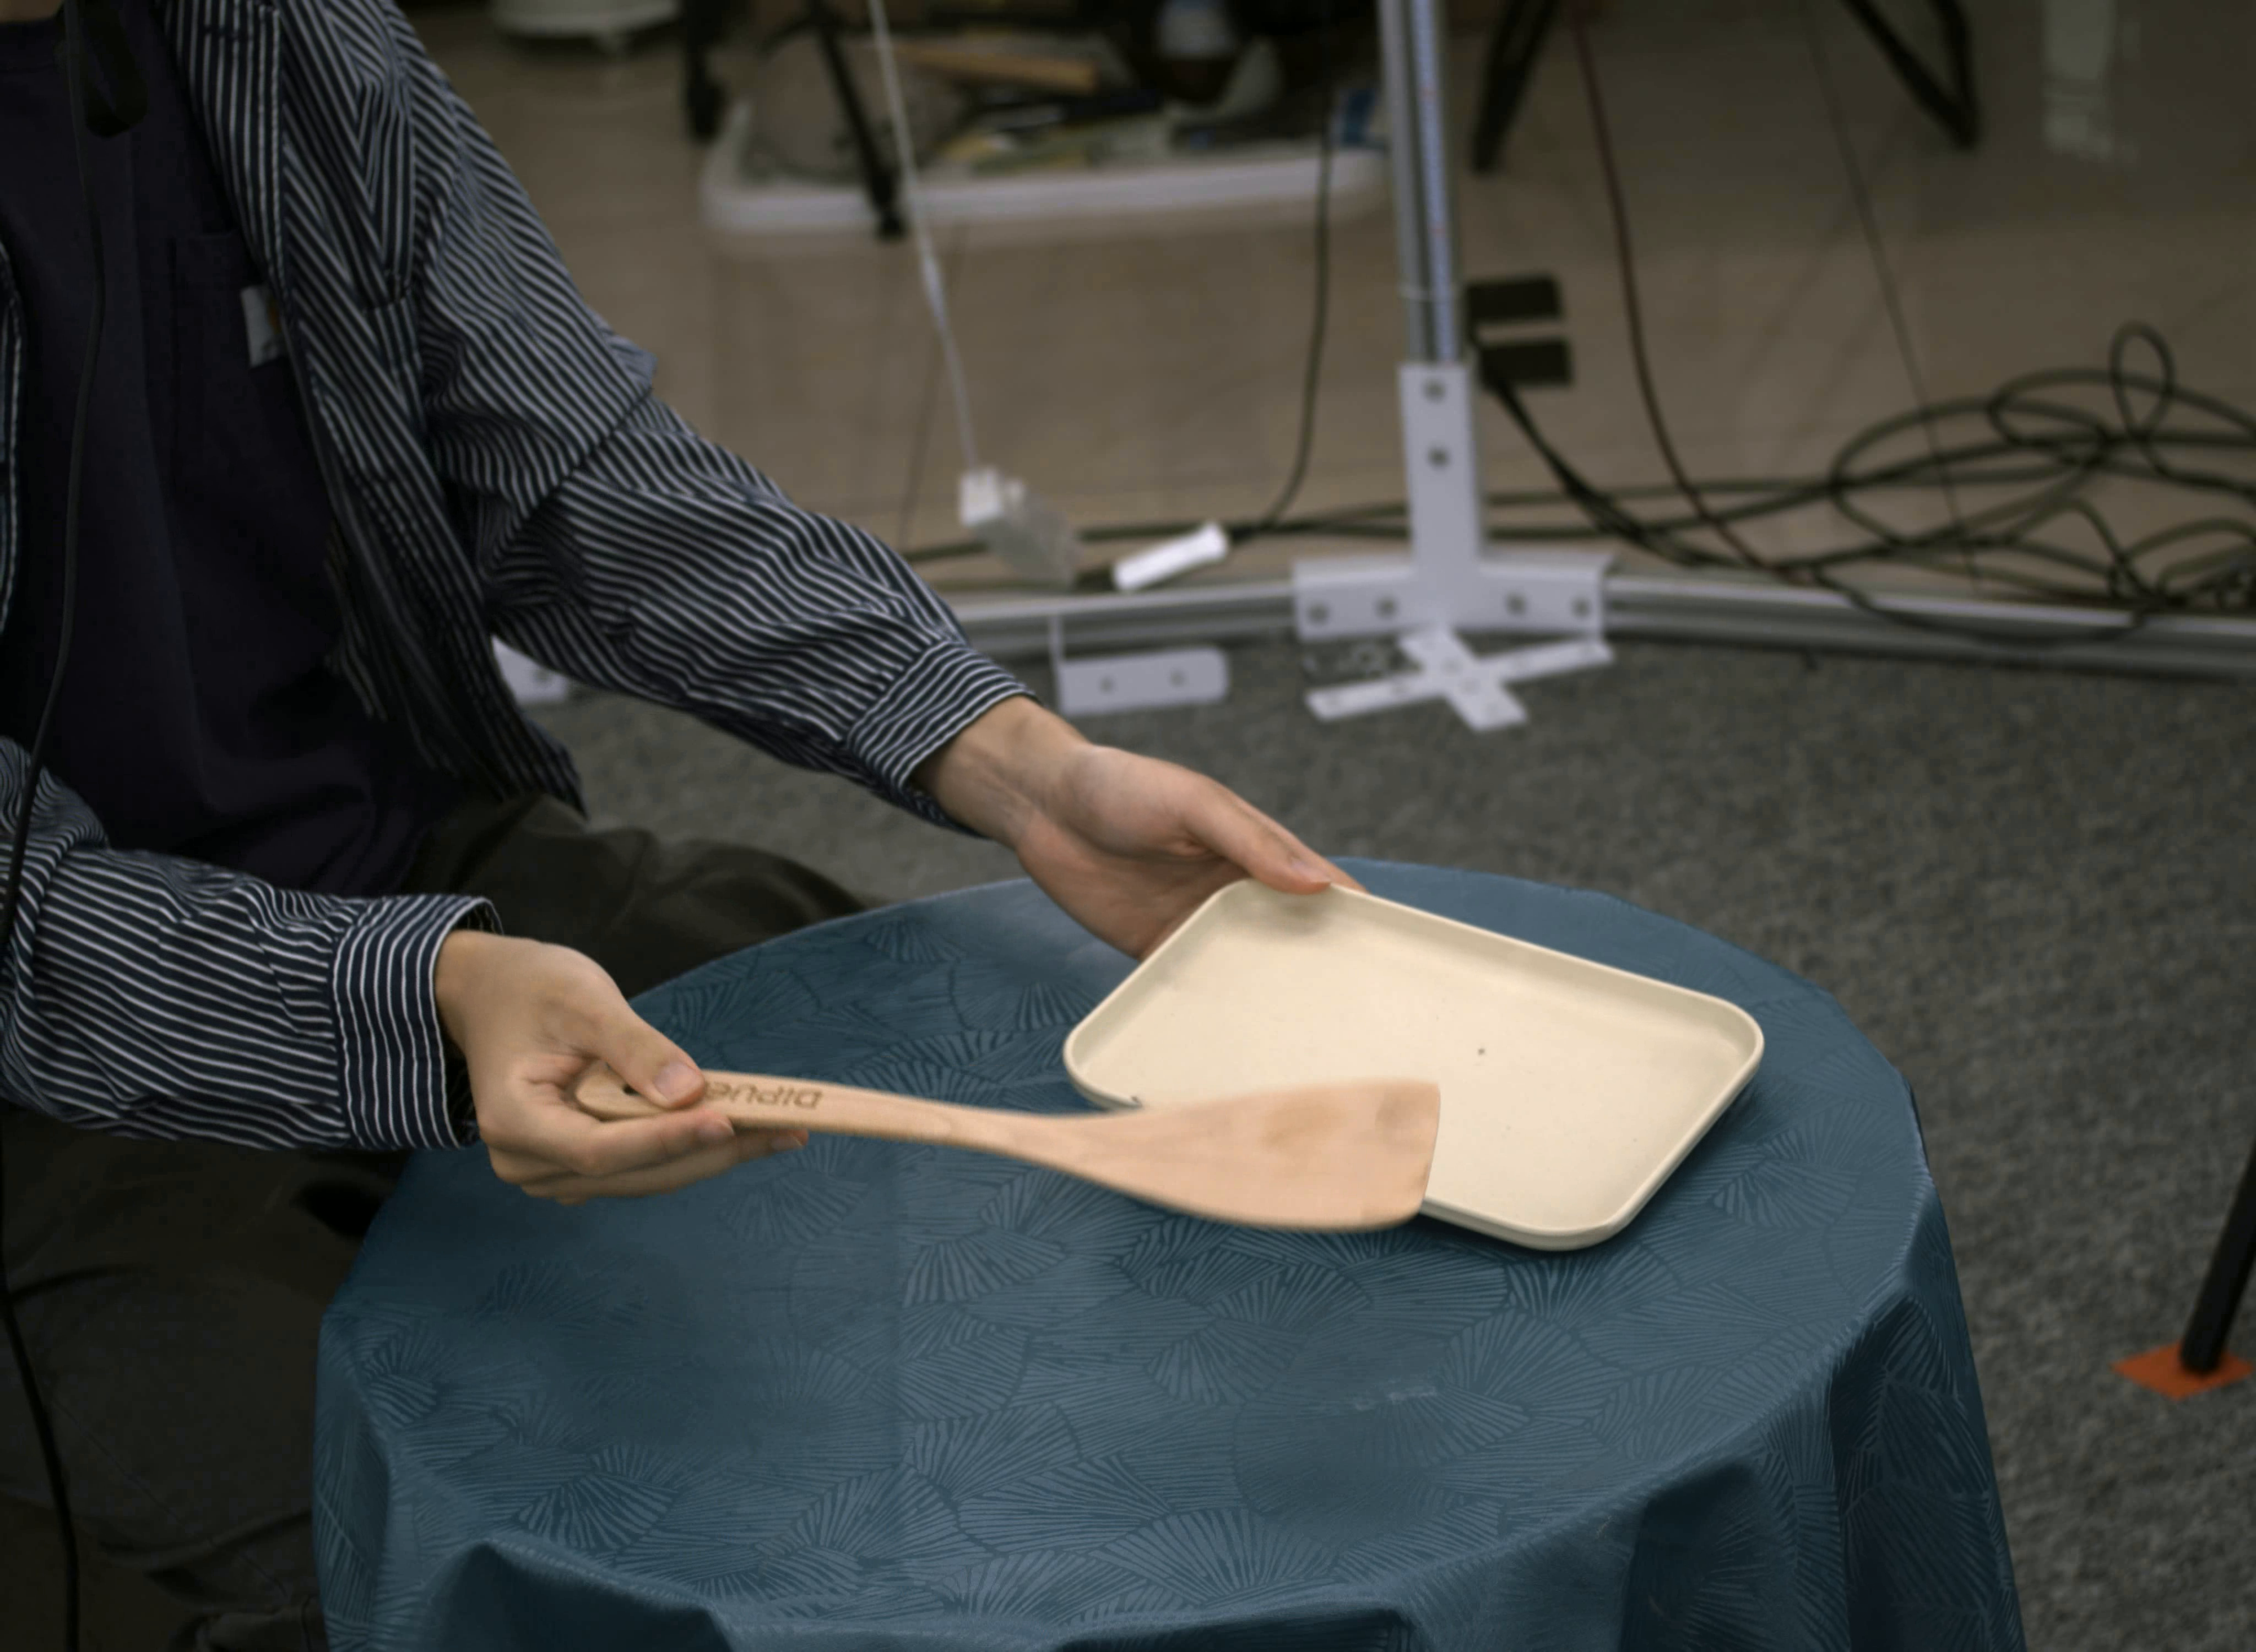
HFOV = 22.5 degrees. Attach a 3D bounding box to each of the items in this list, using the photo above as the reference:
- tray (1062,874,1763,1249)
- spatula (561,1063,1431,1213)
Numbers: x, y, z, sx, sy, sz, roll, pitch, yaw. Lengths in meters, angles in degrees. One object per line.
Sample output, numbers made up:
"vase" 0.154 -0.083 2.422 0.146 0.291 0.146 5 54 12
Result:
"tray" 0.108 0.089 2.165 0.238 0.018 0.169 17 37 26
"spatula" -0.048 0.100 1.985 0.327 0.017 0.078 4 37 18
